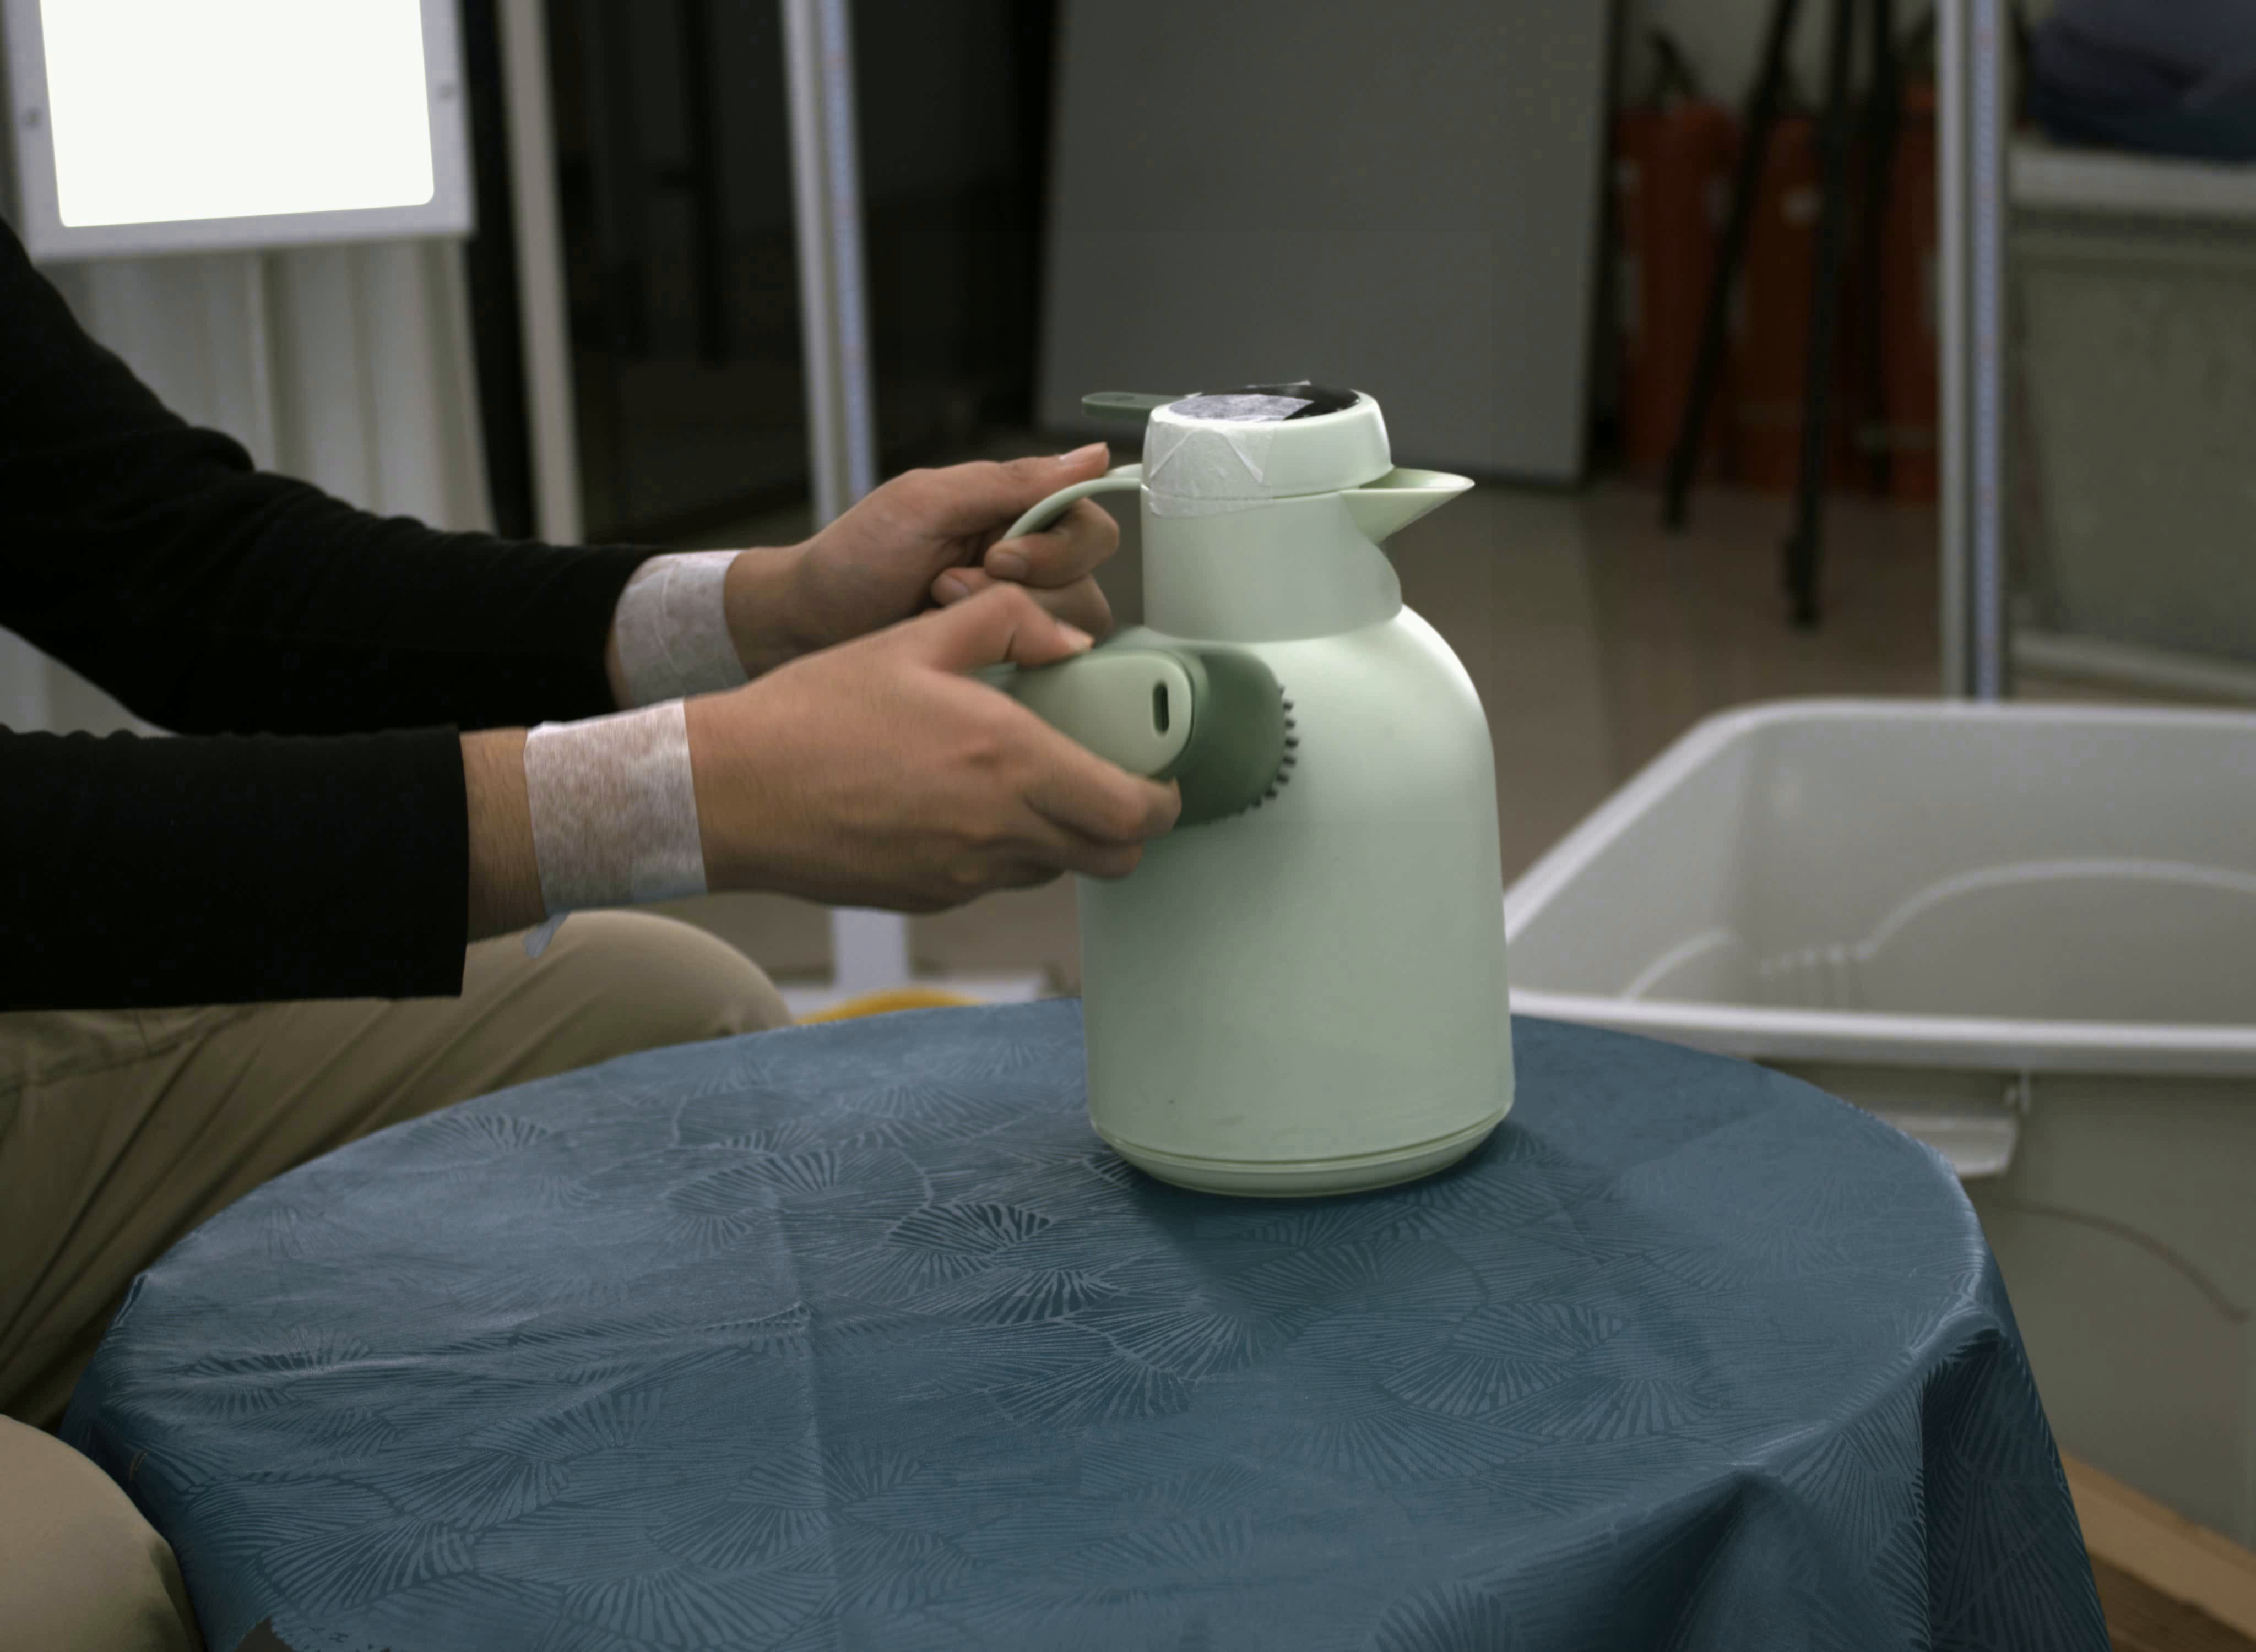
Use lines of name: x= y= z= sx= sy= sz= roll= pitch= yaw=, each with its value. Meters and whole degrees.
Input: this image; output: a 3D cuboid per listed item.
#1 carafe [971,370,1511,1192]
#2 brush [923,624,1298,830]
carafe: x=0.038 y=-0.019 z=1.786 sx=0.187 sy=0.259 sz=0.142 roll=1 pitch=14 yaw=30
brush: x=-0.005 y=-0.032 z=1.693 sx=0.124 sy=0.060 sz=0.074 roll=-10 pitch=-10 yaw=39
